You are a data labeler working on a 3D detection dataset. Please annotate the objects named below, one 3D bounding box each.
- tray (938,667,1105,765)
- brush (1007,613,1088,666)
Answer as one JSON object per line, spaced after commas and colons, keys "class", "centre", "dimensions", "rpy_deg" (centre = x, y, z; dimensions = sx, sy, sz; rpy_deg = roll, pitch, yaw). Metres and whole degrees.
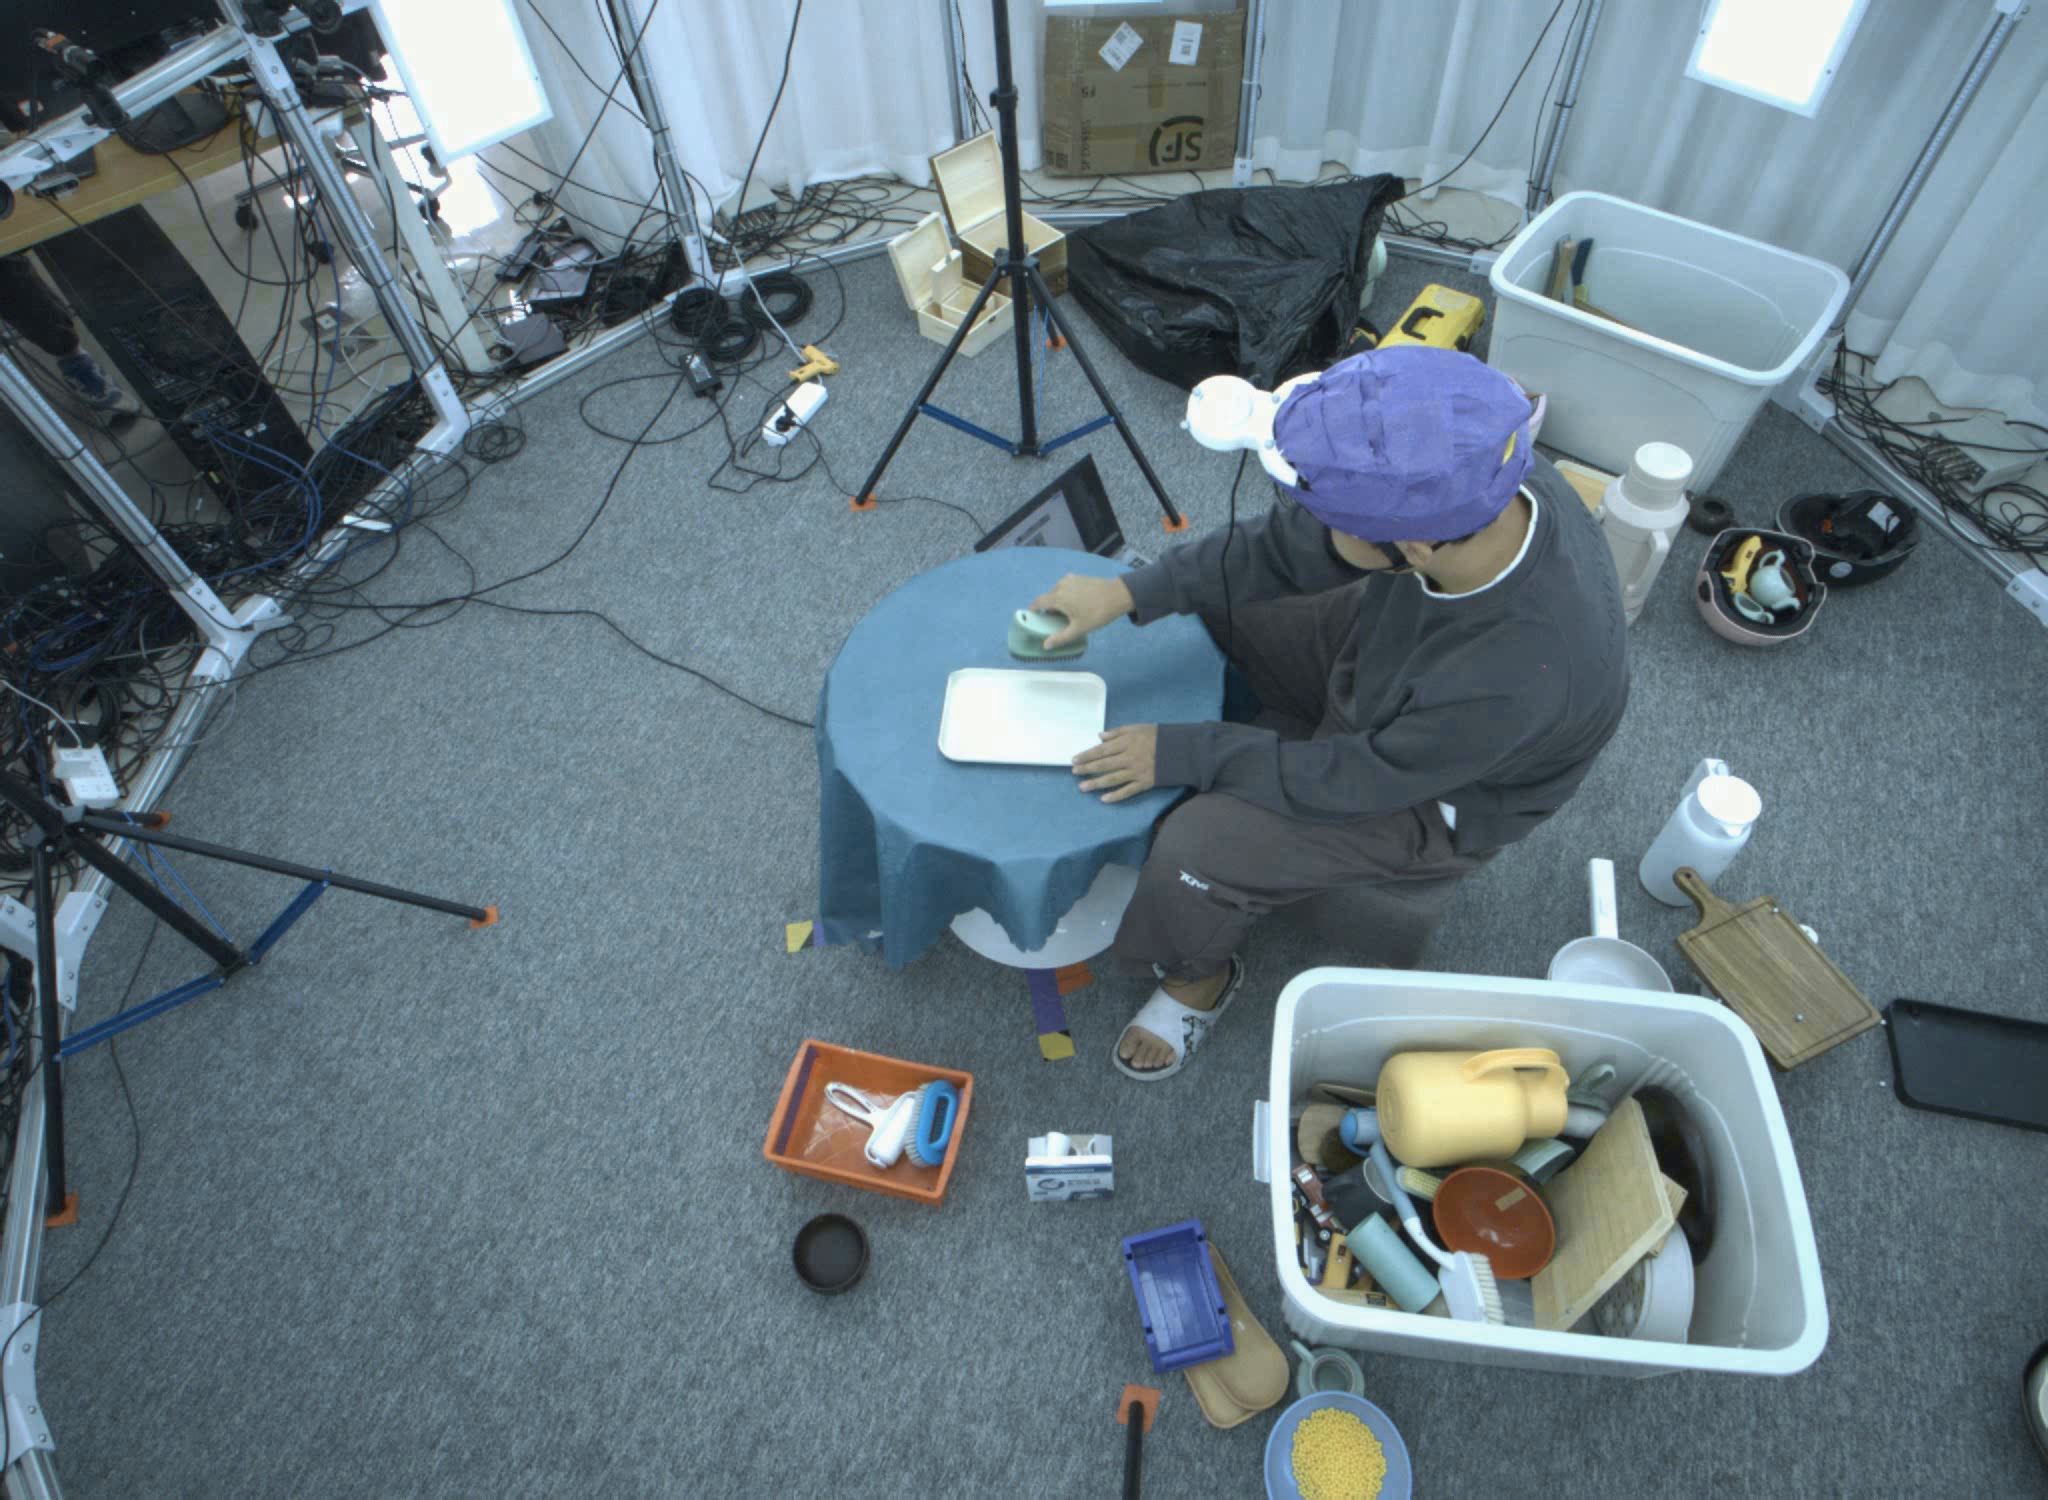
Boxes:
{"class": "tray", "centre": [-0.002, -0.049, 1.812], "dimensions": [0.239, 0.017, 0.170], "rpy_deg": [3, 55, 3]}
{"class": "brush", "centre": [0.033, -0.160, 1.801], "dimensions": [0.125, 0.075, 0.059], "rpy_deg": [4, 51, -21]}
